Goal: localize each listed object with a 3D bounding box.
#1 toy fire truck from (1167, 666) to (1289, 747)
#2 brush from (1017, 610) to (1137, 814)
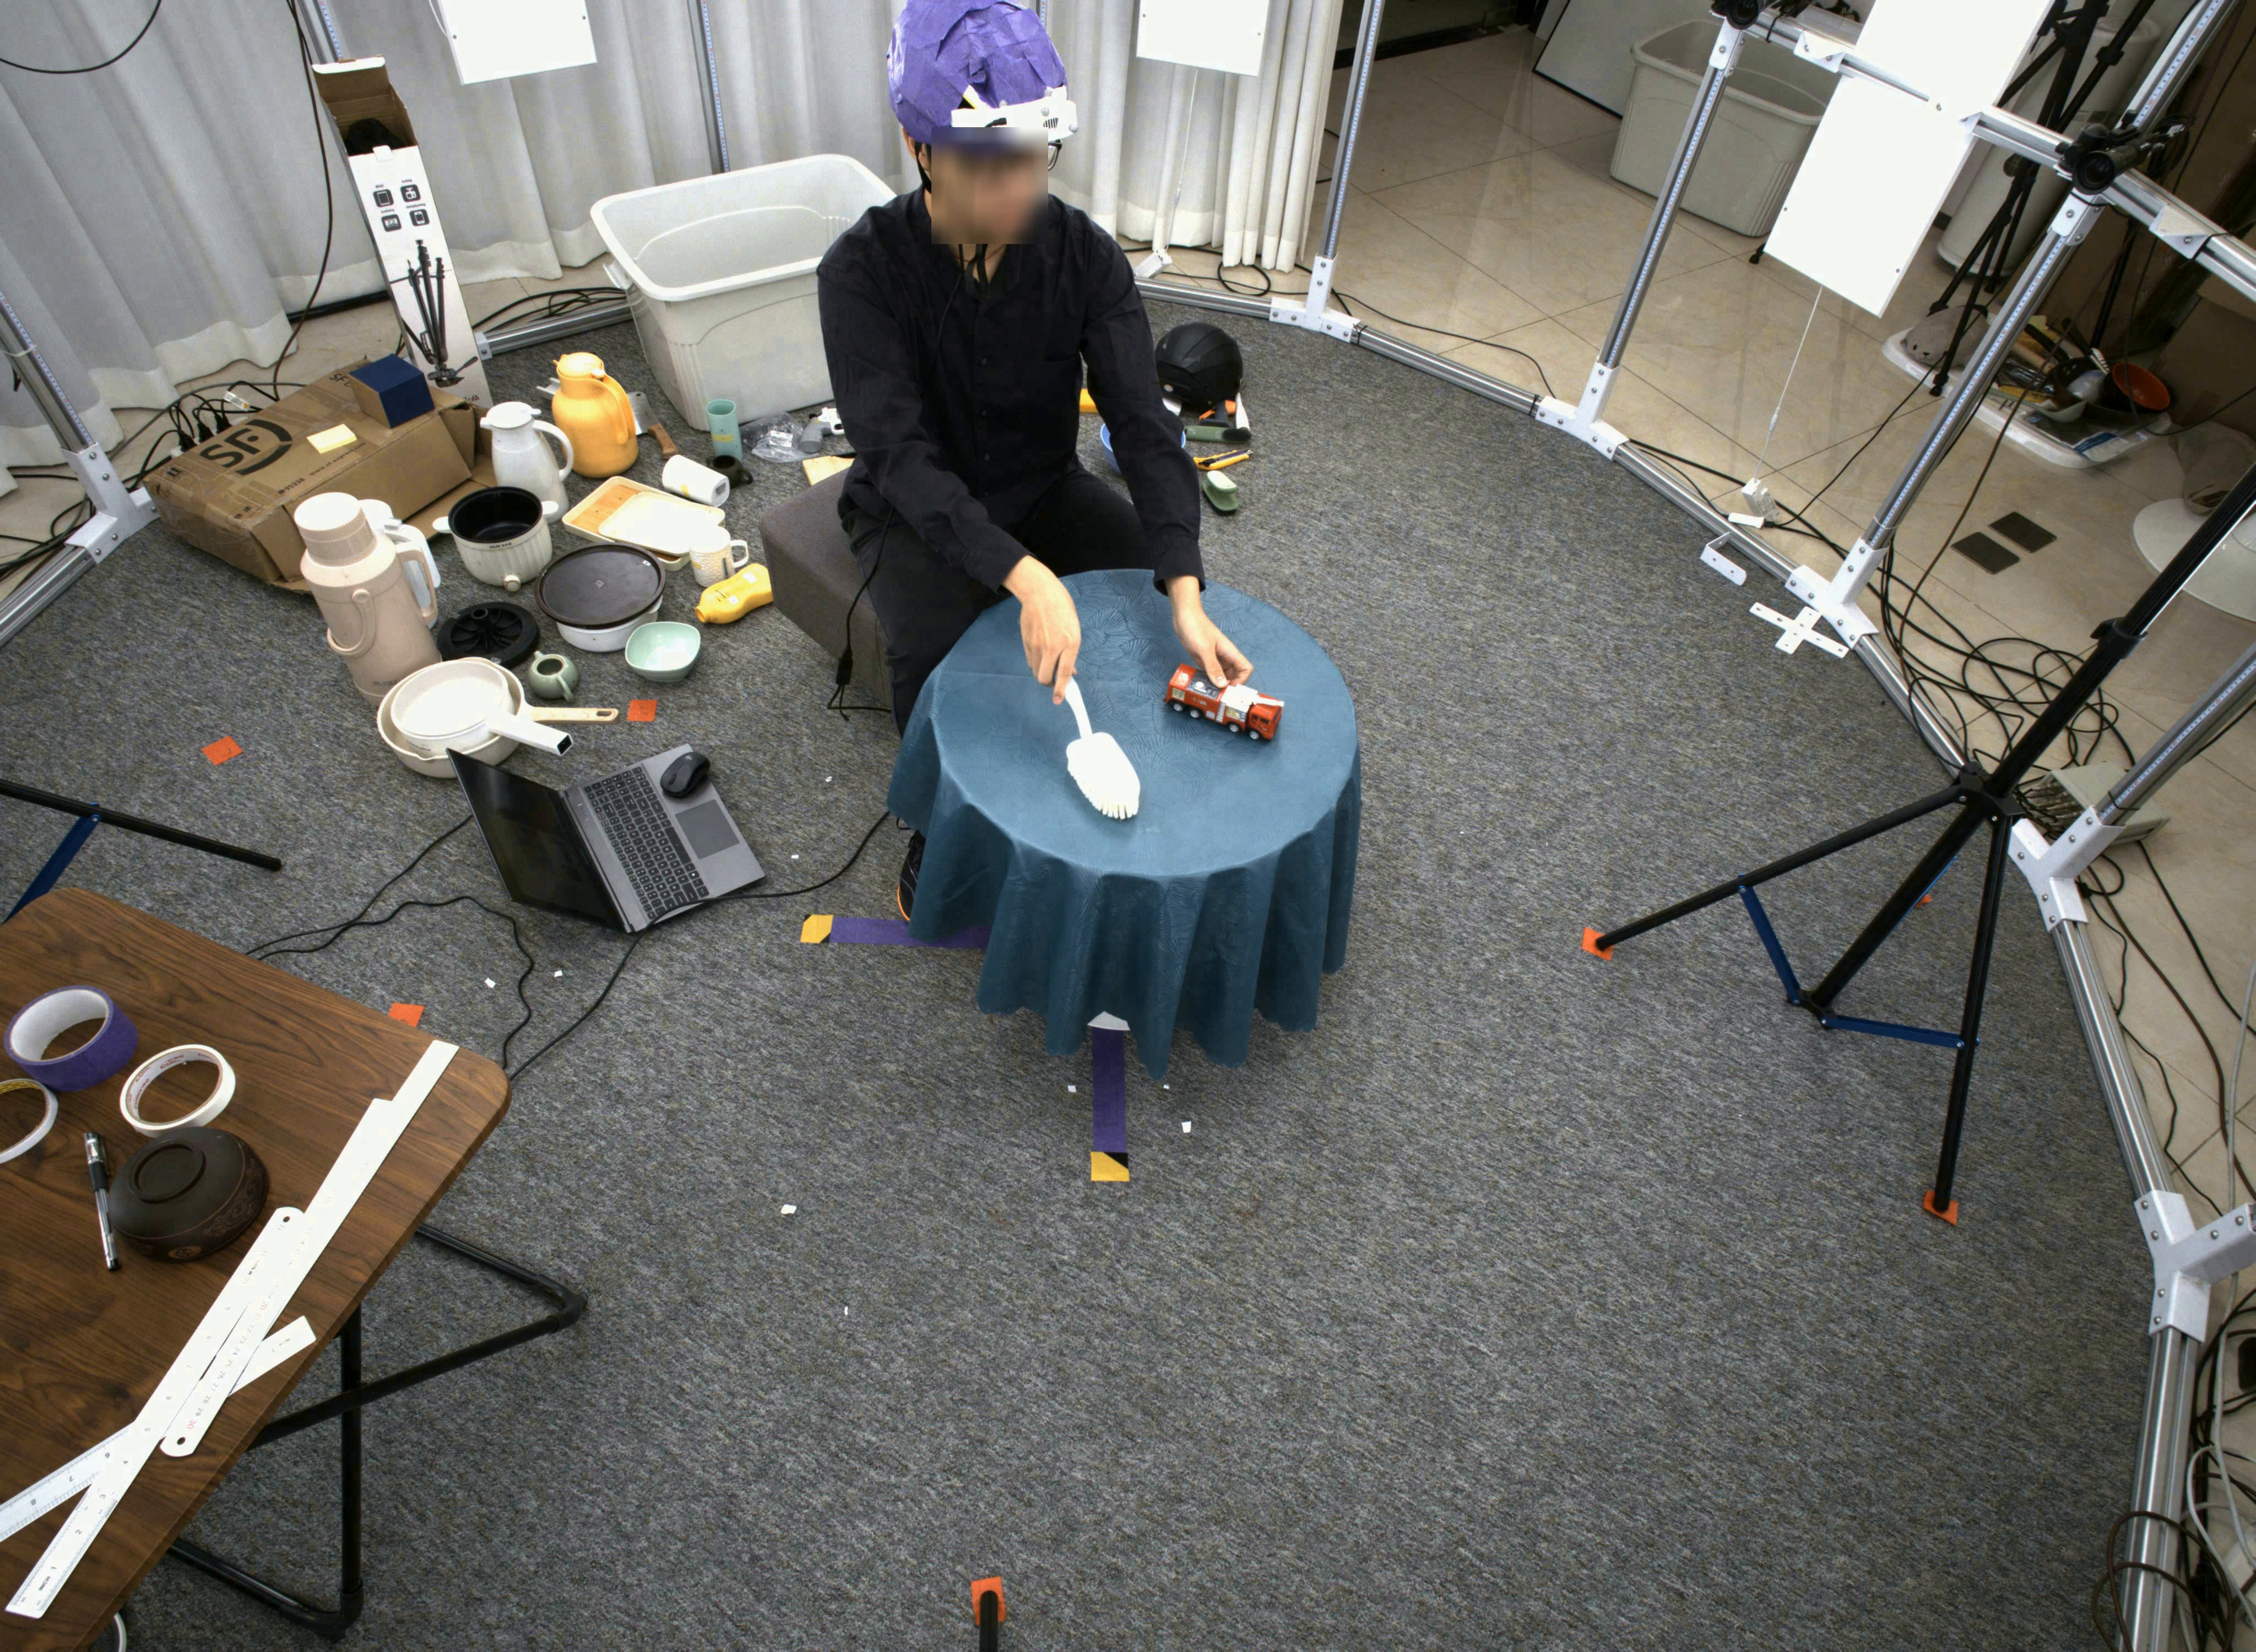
[{"bbox_3d":[0.140,-0.167,1.784,0.169,0.068,0.055,20,54,13],"label":"toy fire truck"},{"bbox_3d":[-0.072,-0.151,1.739,0.082,0.083,0.331,2,52,-53],"label":"brush"}]
